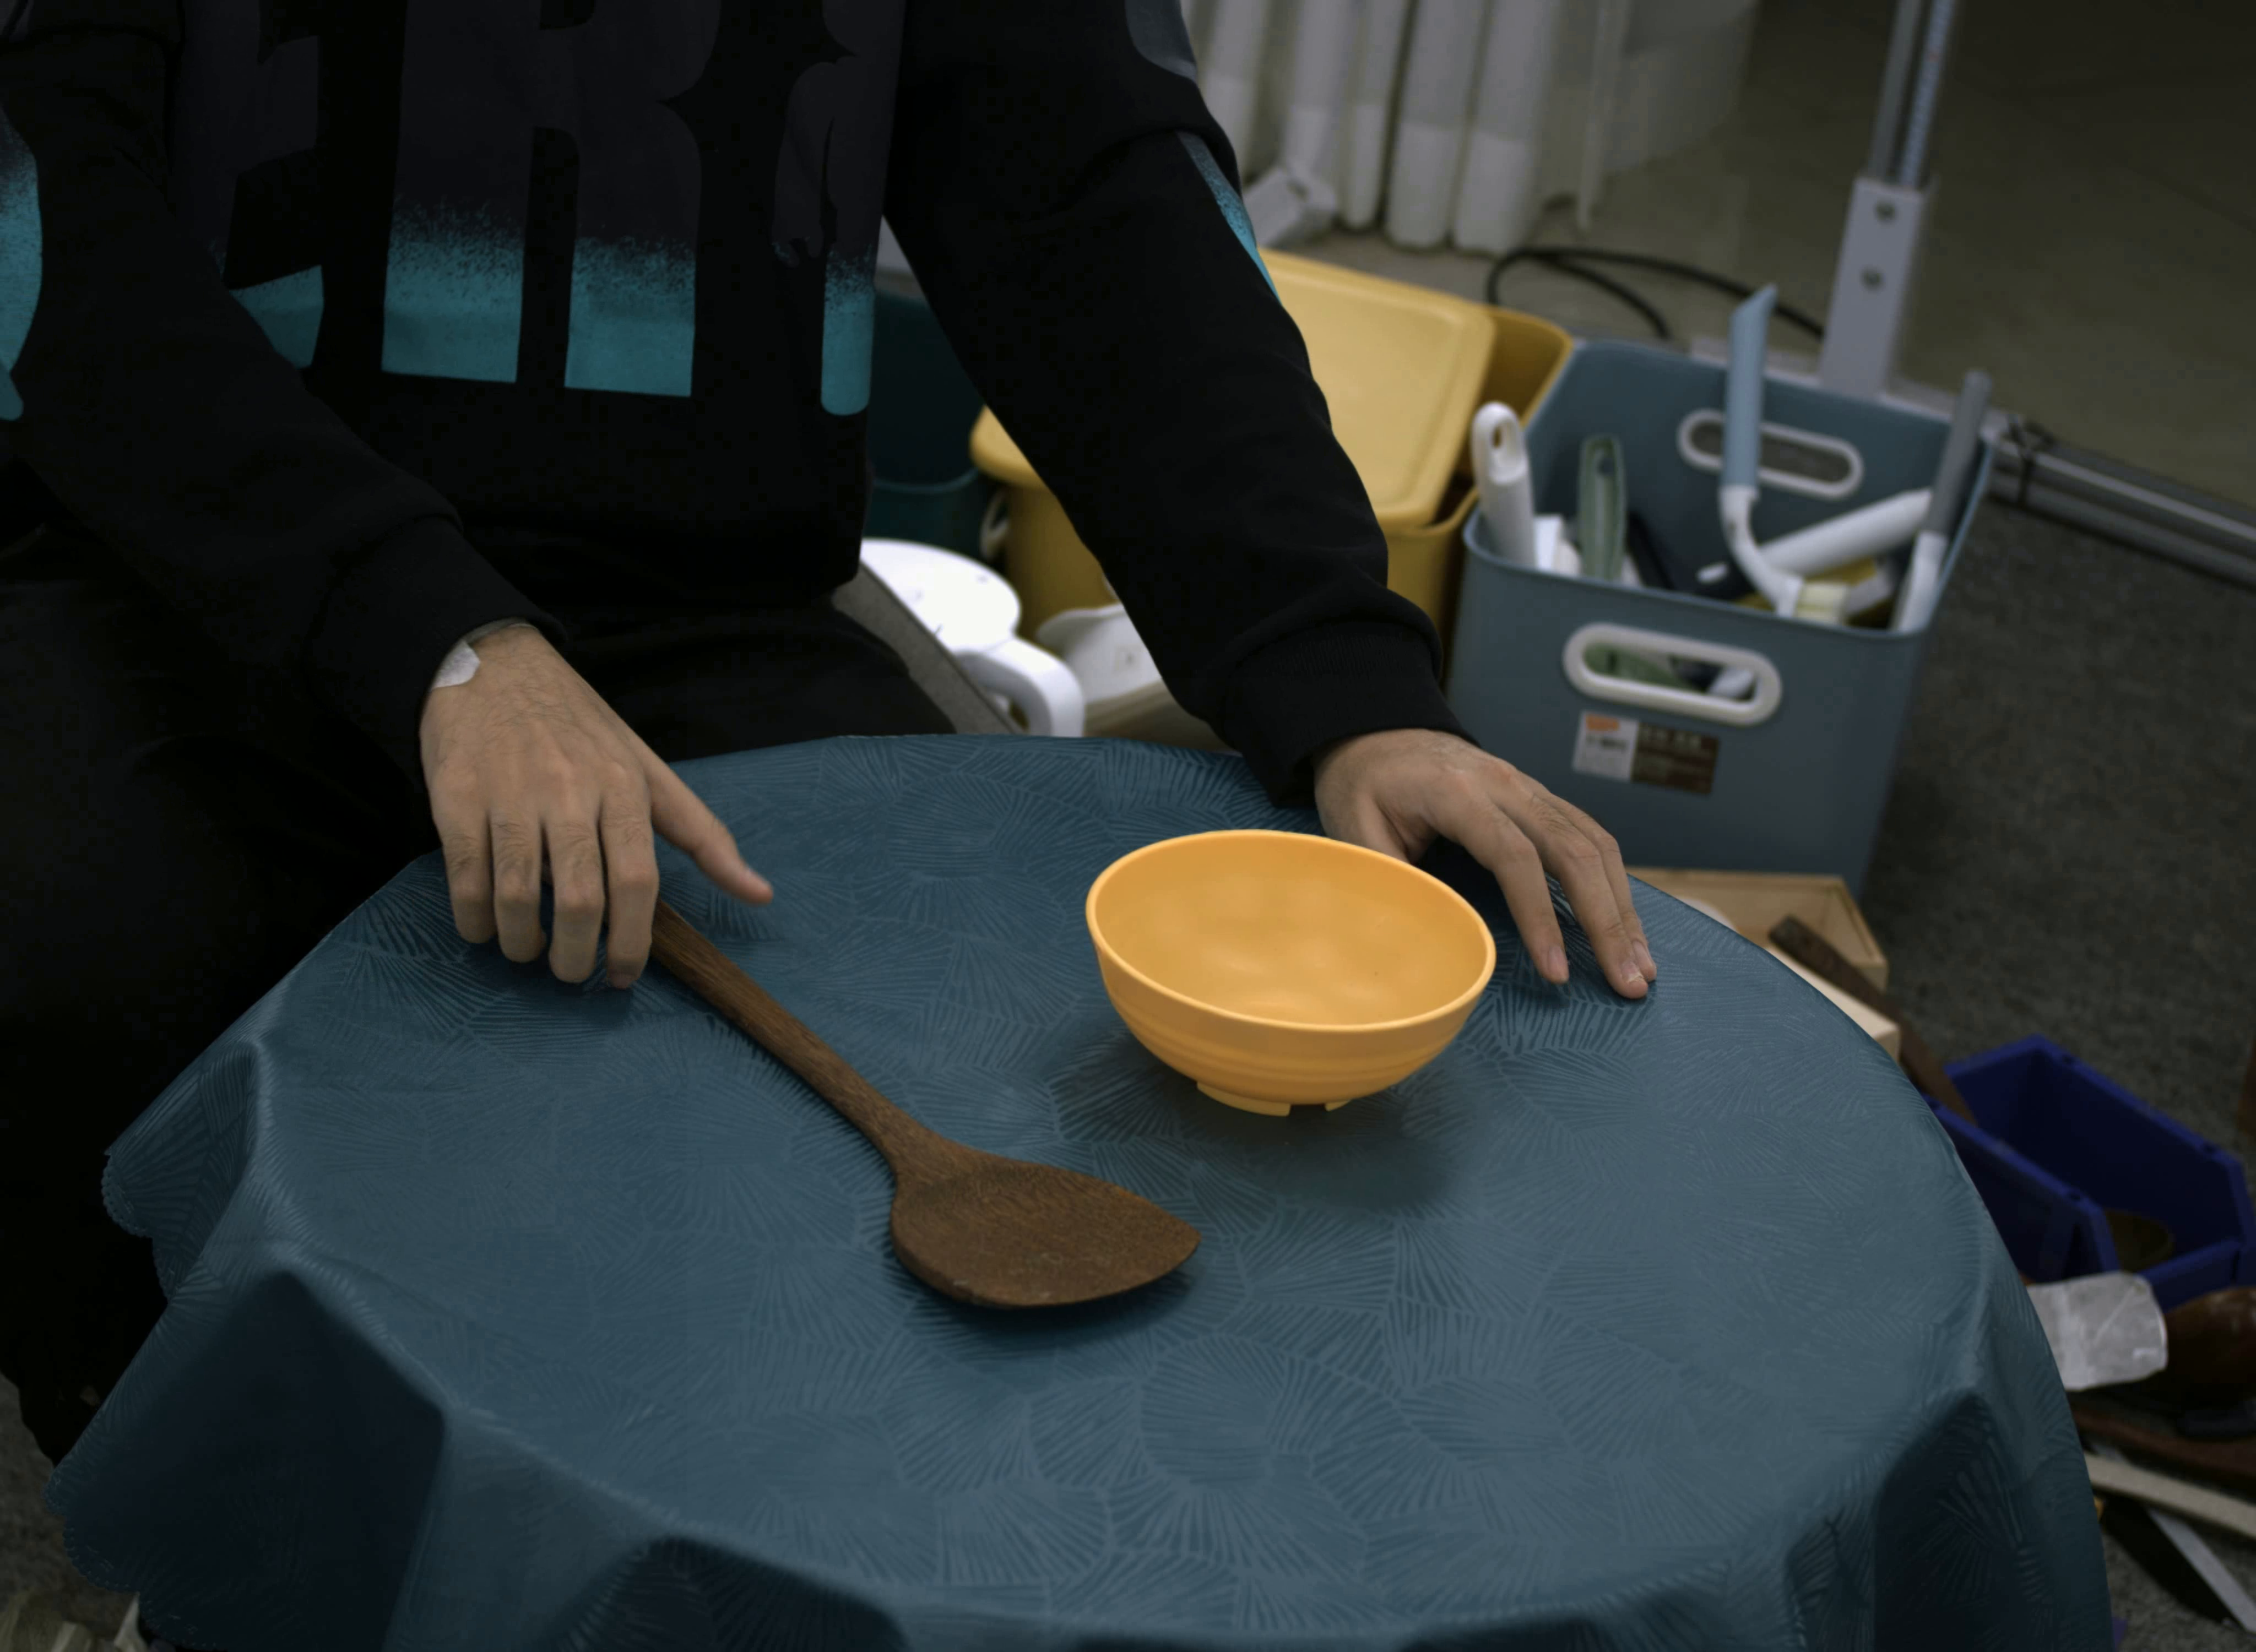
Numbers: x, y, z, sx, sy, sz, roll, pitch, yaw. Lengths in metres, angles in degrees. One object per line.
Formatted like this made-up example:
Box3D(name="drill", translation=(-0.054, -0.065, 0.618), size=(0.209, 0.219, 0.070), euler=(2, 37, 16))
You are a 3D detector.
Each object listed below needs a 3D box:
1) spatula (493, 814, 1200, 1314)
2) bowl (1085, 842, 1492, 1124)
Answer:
Box3D(name="spatula", translation=(-0.118, 0.075, 1.855), size=(0.095, 0.016, 0.389), euler=(-13, 32, -34))
Box3D(name="bowl", translation=(0.052, 0.063, 1.871), size=(0.145, 0.060, 0.146), euler=(7, 24, -3))
